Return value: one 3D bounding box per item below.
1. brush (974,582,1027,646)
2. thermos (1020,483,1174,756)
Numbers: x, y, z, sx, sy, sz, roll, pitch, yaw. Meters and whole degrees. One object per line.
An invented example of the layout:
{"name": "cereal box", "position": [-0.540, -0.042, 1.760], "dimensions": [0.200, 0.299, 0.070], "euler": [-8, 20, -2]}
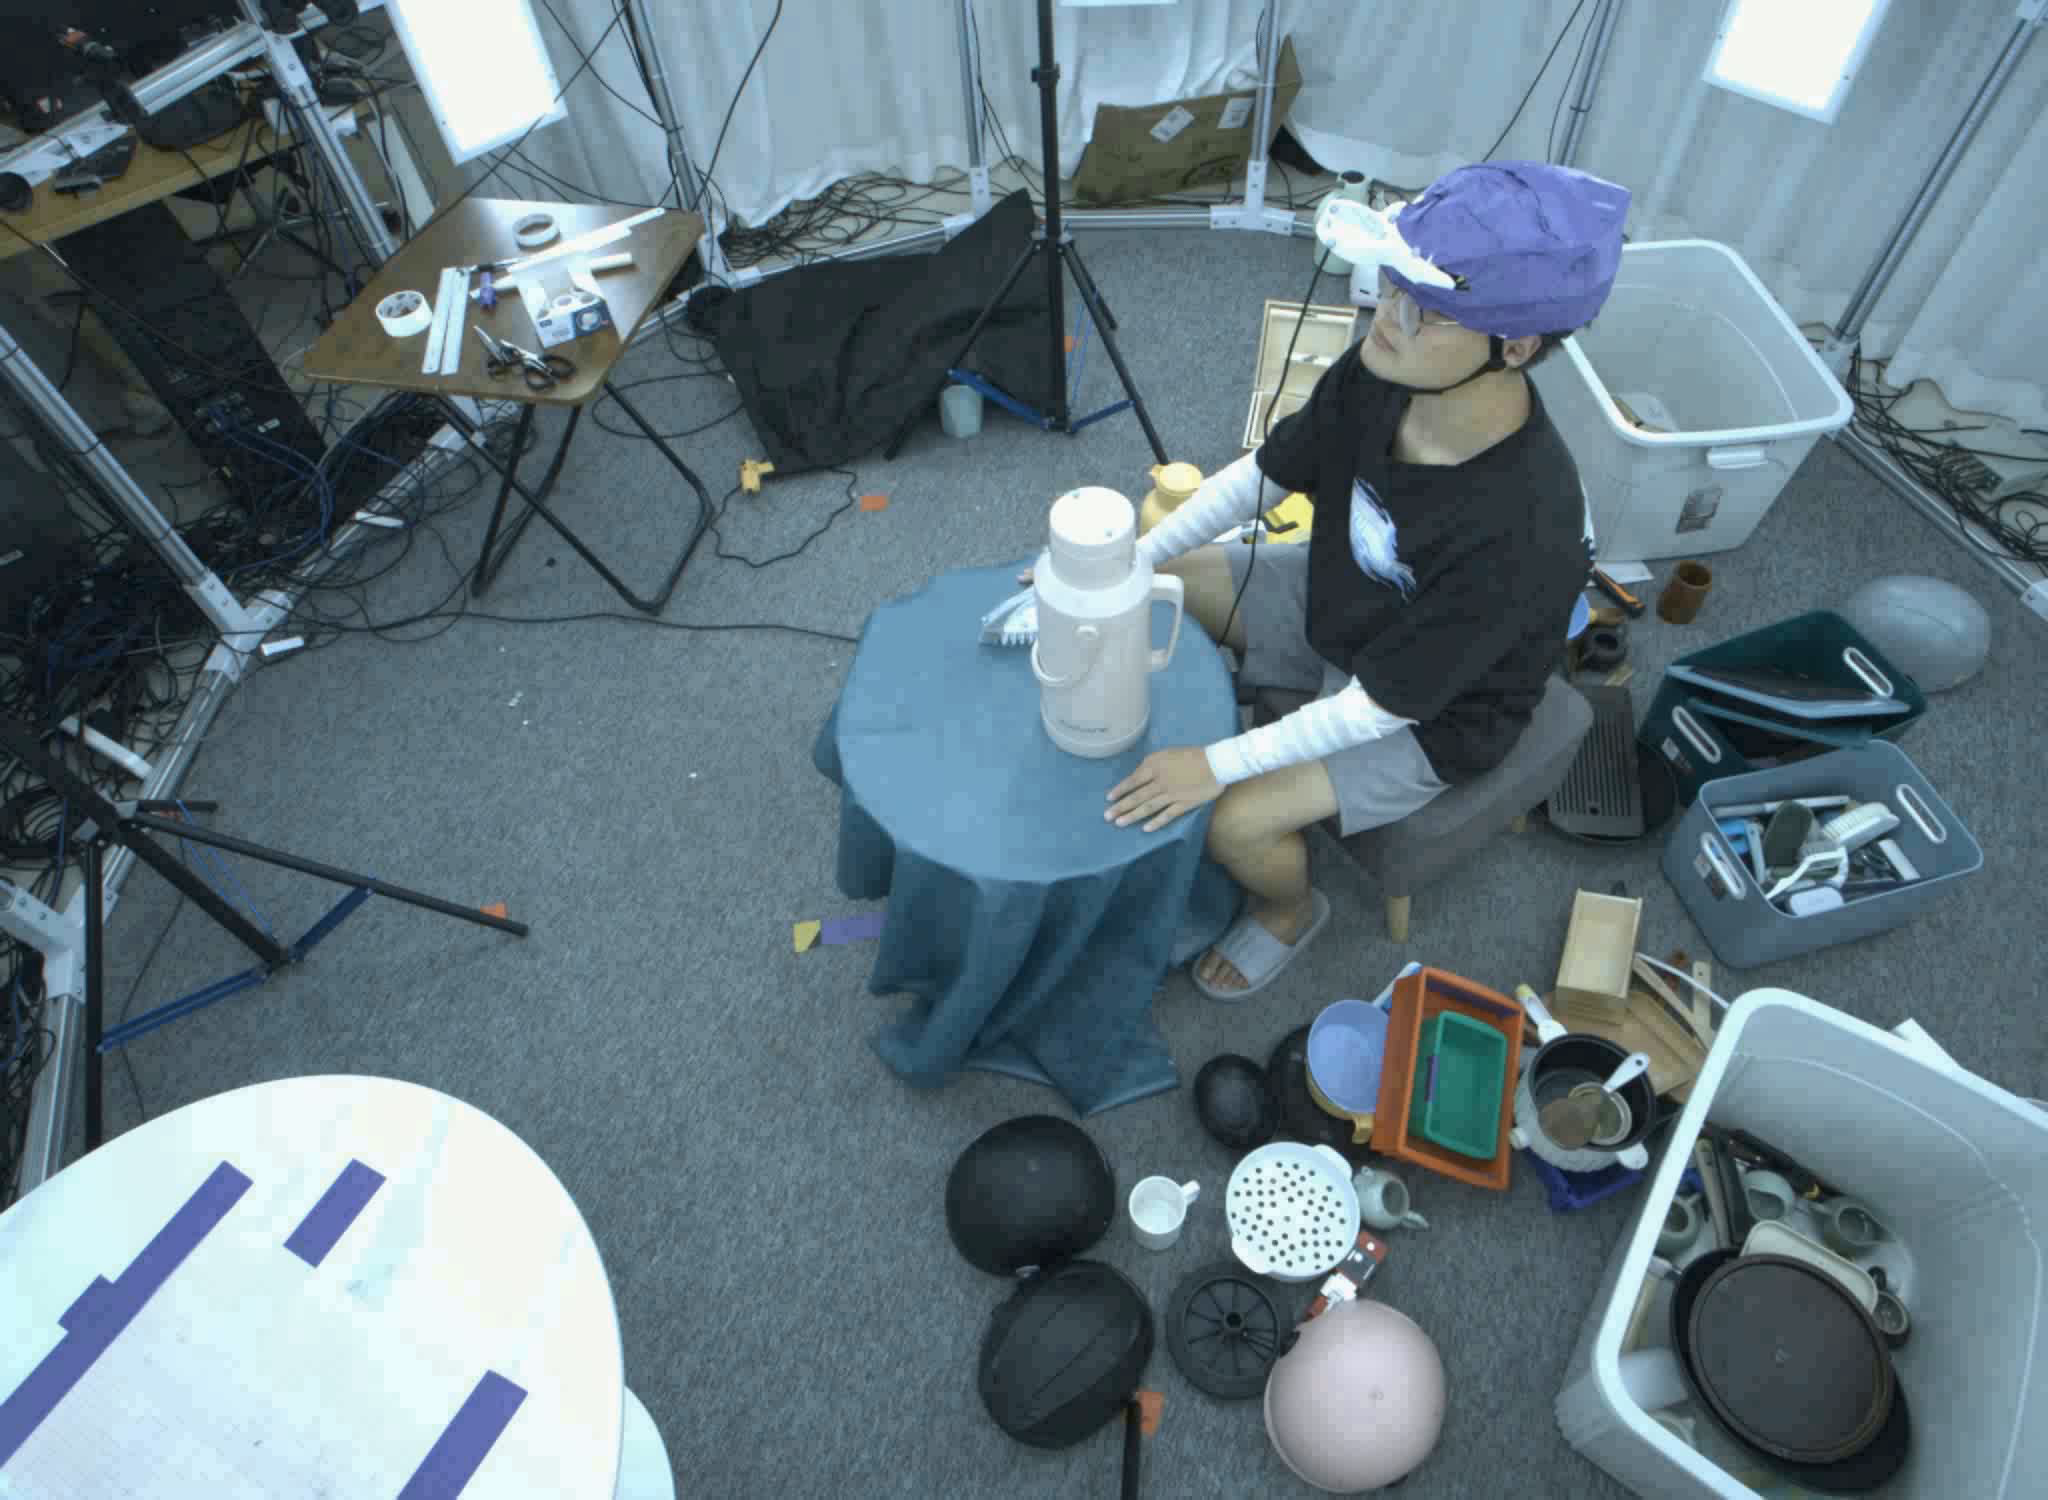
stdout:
{"name": "brush", "position": [0.002, -0.214, 1.874], "dimensions": [0.176, 0.095, 0.060], "euler": [-15, 49, -6]}
{"name": "thermos", "position": [0.094, -0.169, 1.651], "dimensions": [0.206, 0.411, 0.174], "euler": [3, 53, 6]}
